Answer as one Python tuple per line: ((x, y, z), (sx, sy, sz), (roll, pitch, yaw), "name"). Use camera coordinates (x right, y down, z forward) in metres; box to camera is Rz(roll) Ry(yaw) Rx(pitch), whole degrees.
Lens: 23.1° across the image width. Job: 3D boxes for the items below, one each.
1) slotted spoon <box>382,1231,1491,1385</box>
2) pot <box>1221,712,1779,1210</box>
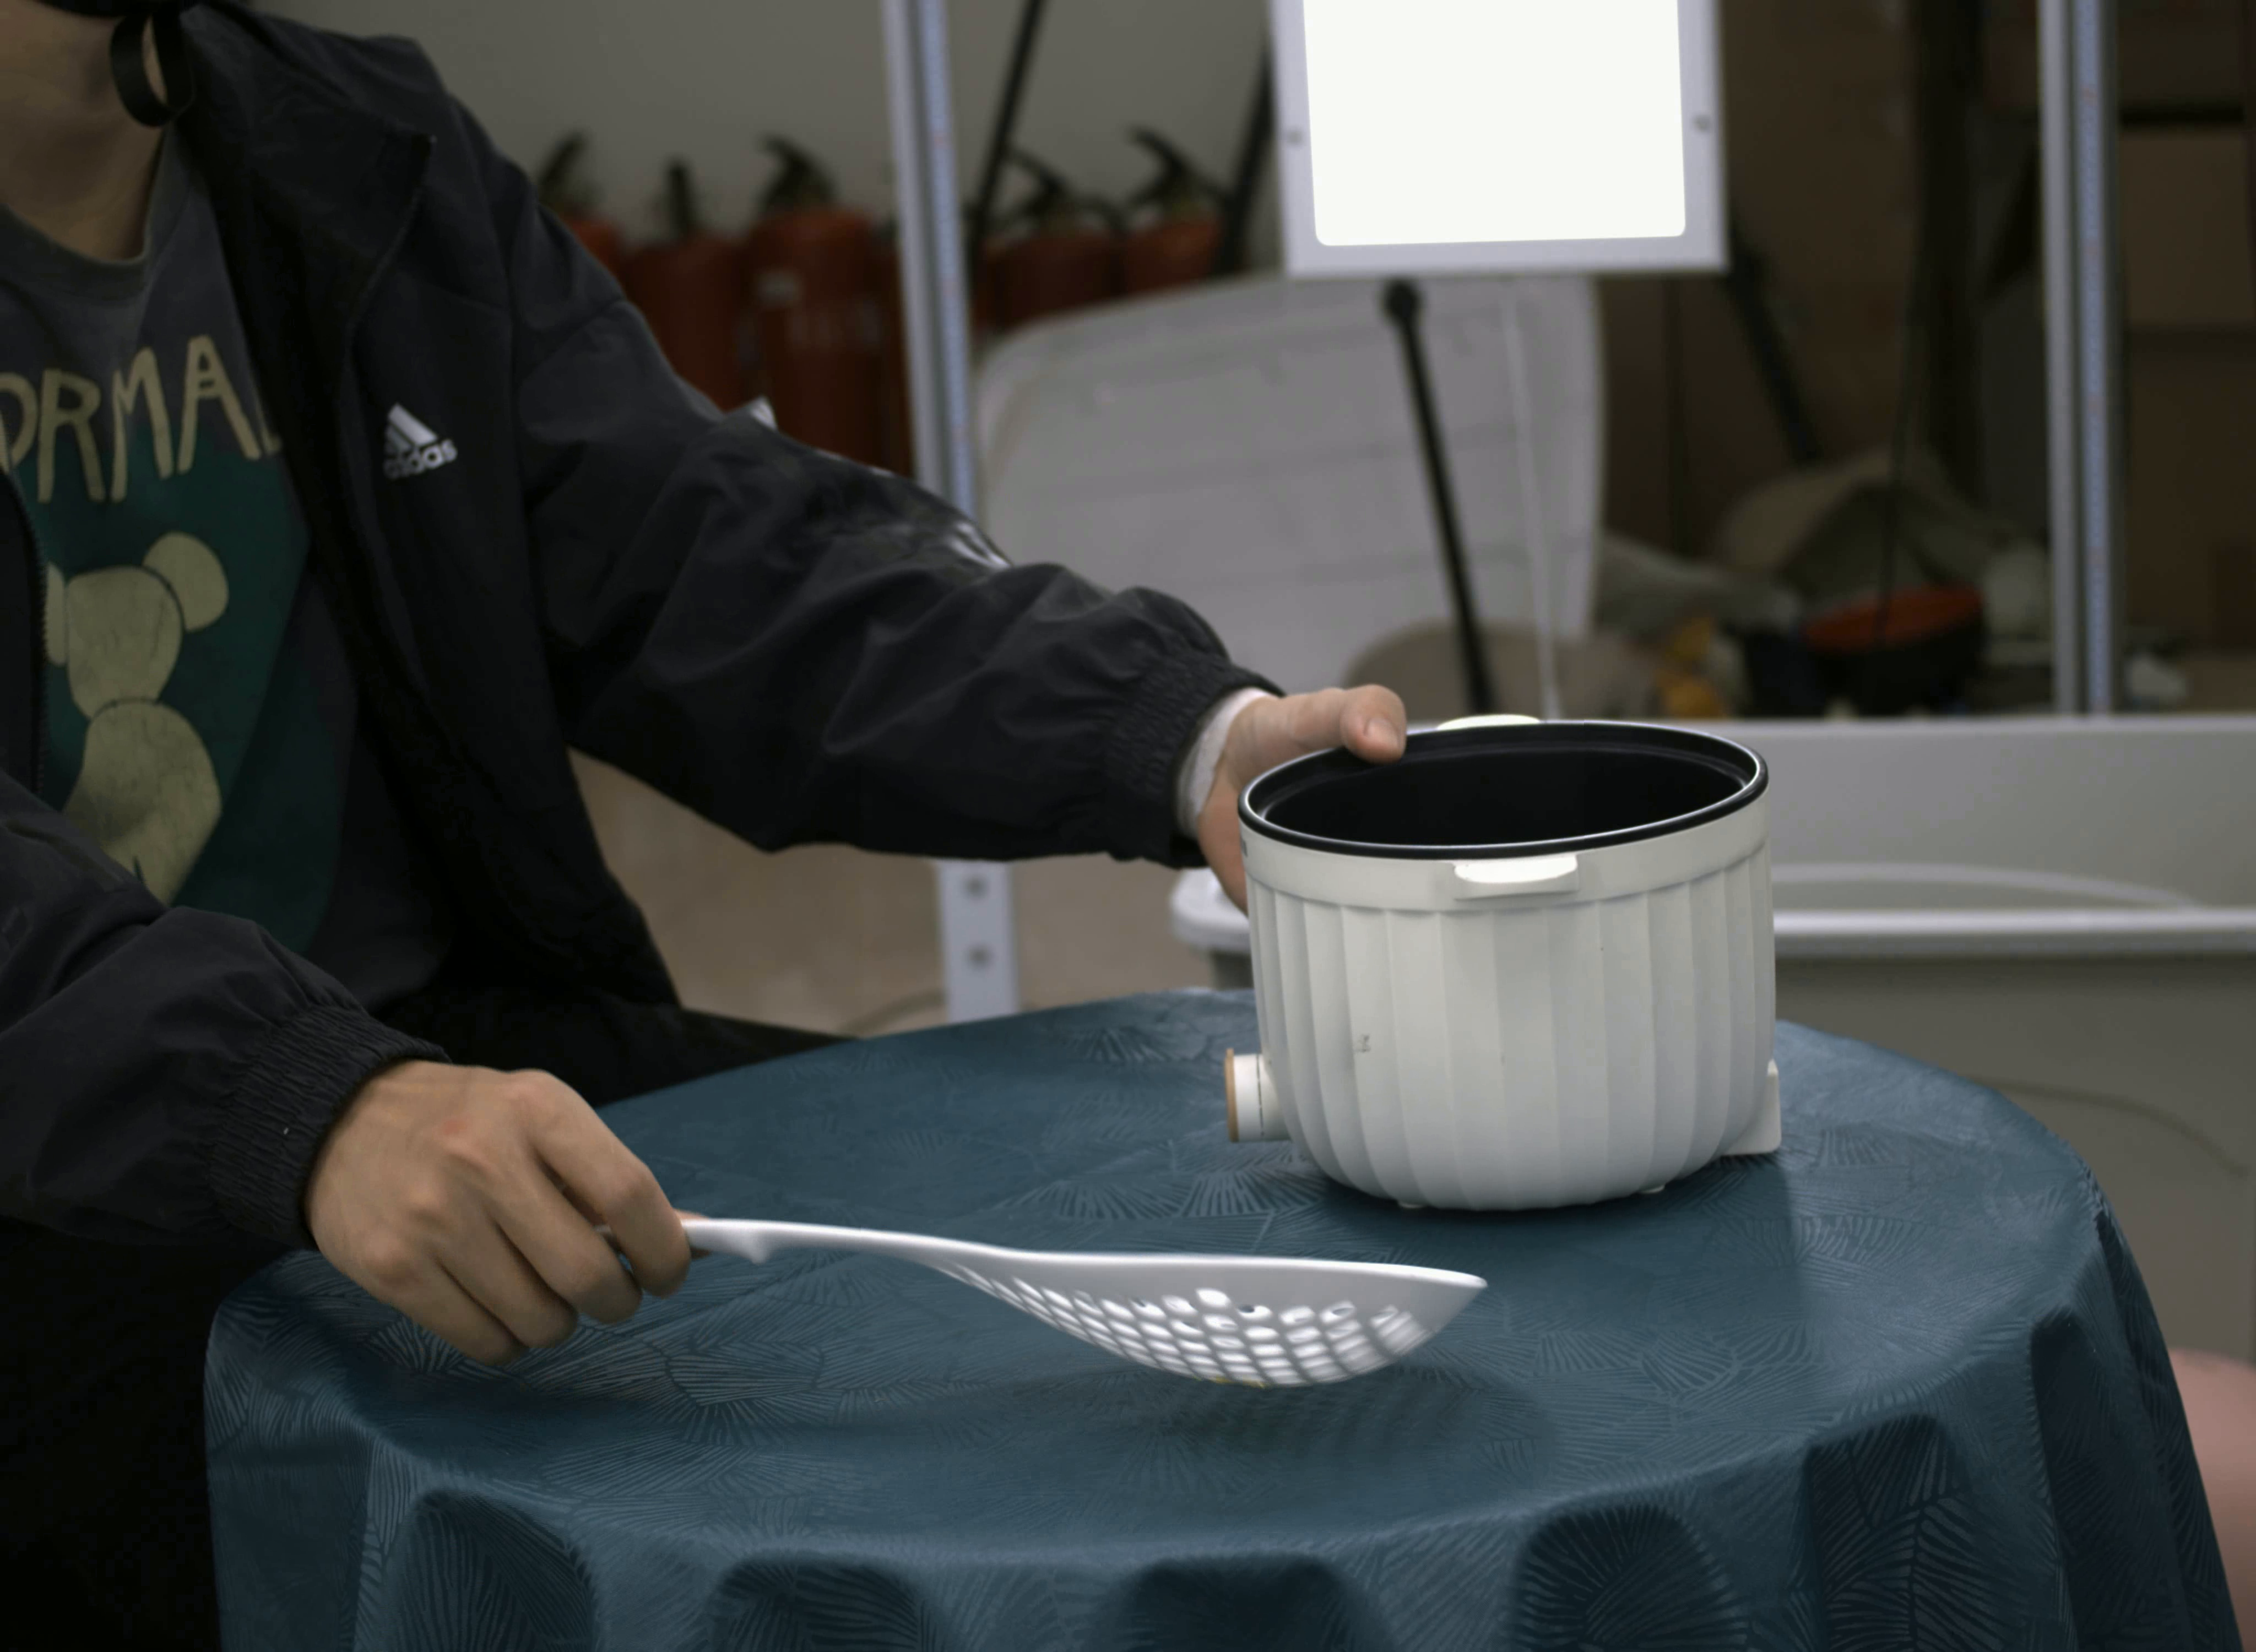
((-0.062, 0.139, 1.691), (0.352, 0.050, 0.135), (5, -2, 18), "slotted spoon")
((0.126, 0.049, 1.874), (0.190, 0.143, 0.239), (-1, 13, 2), "pot")
